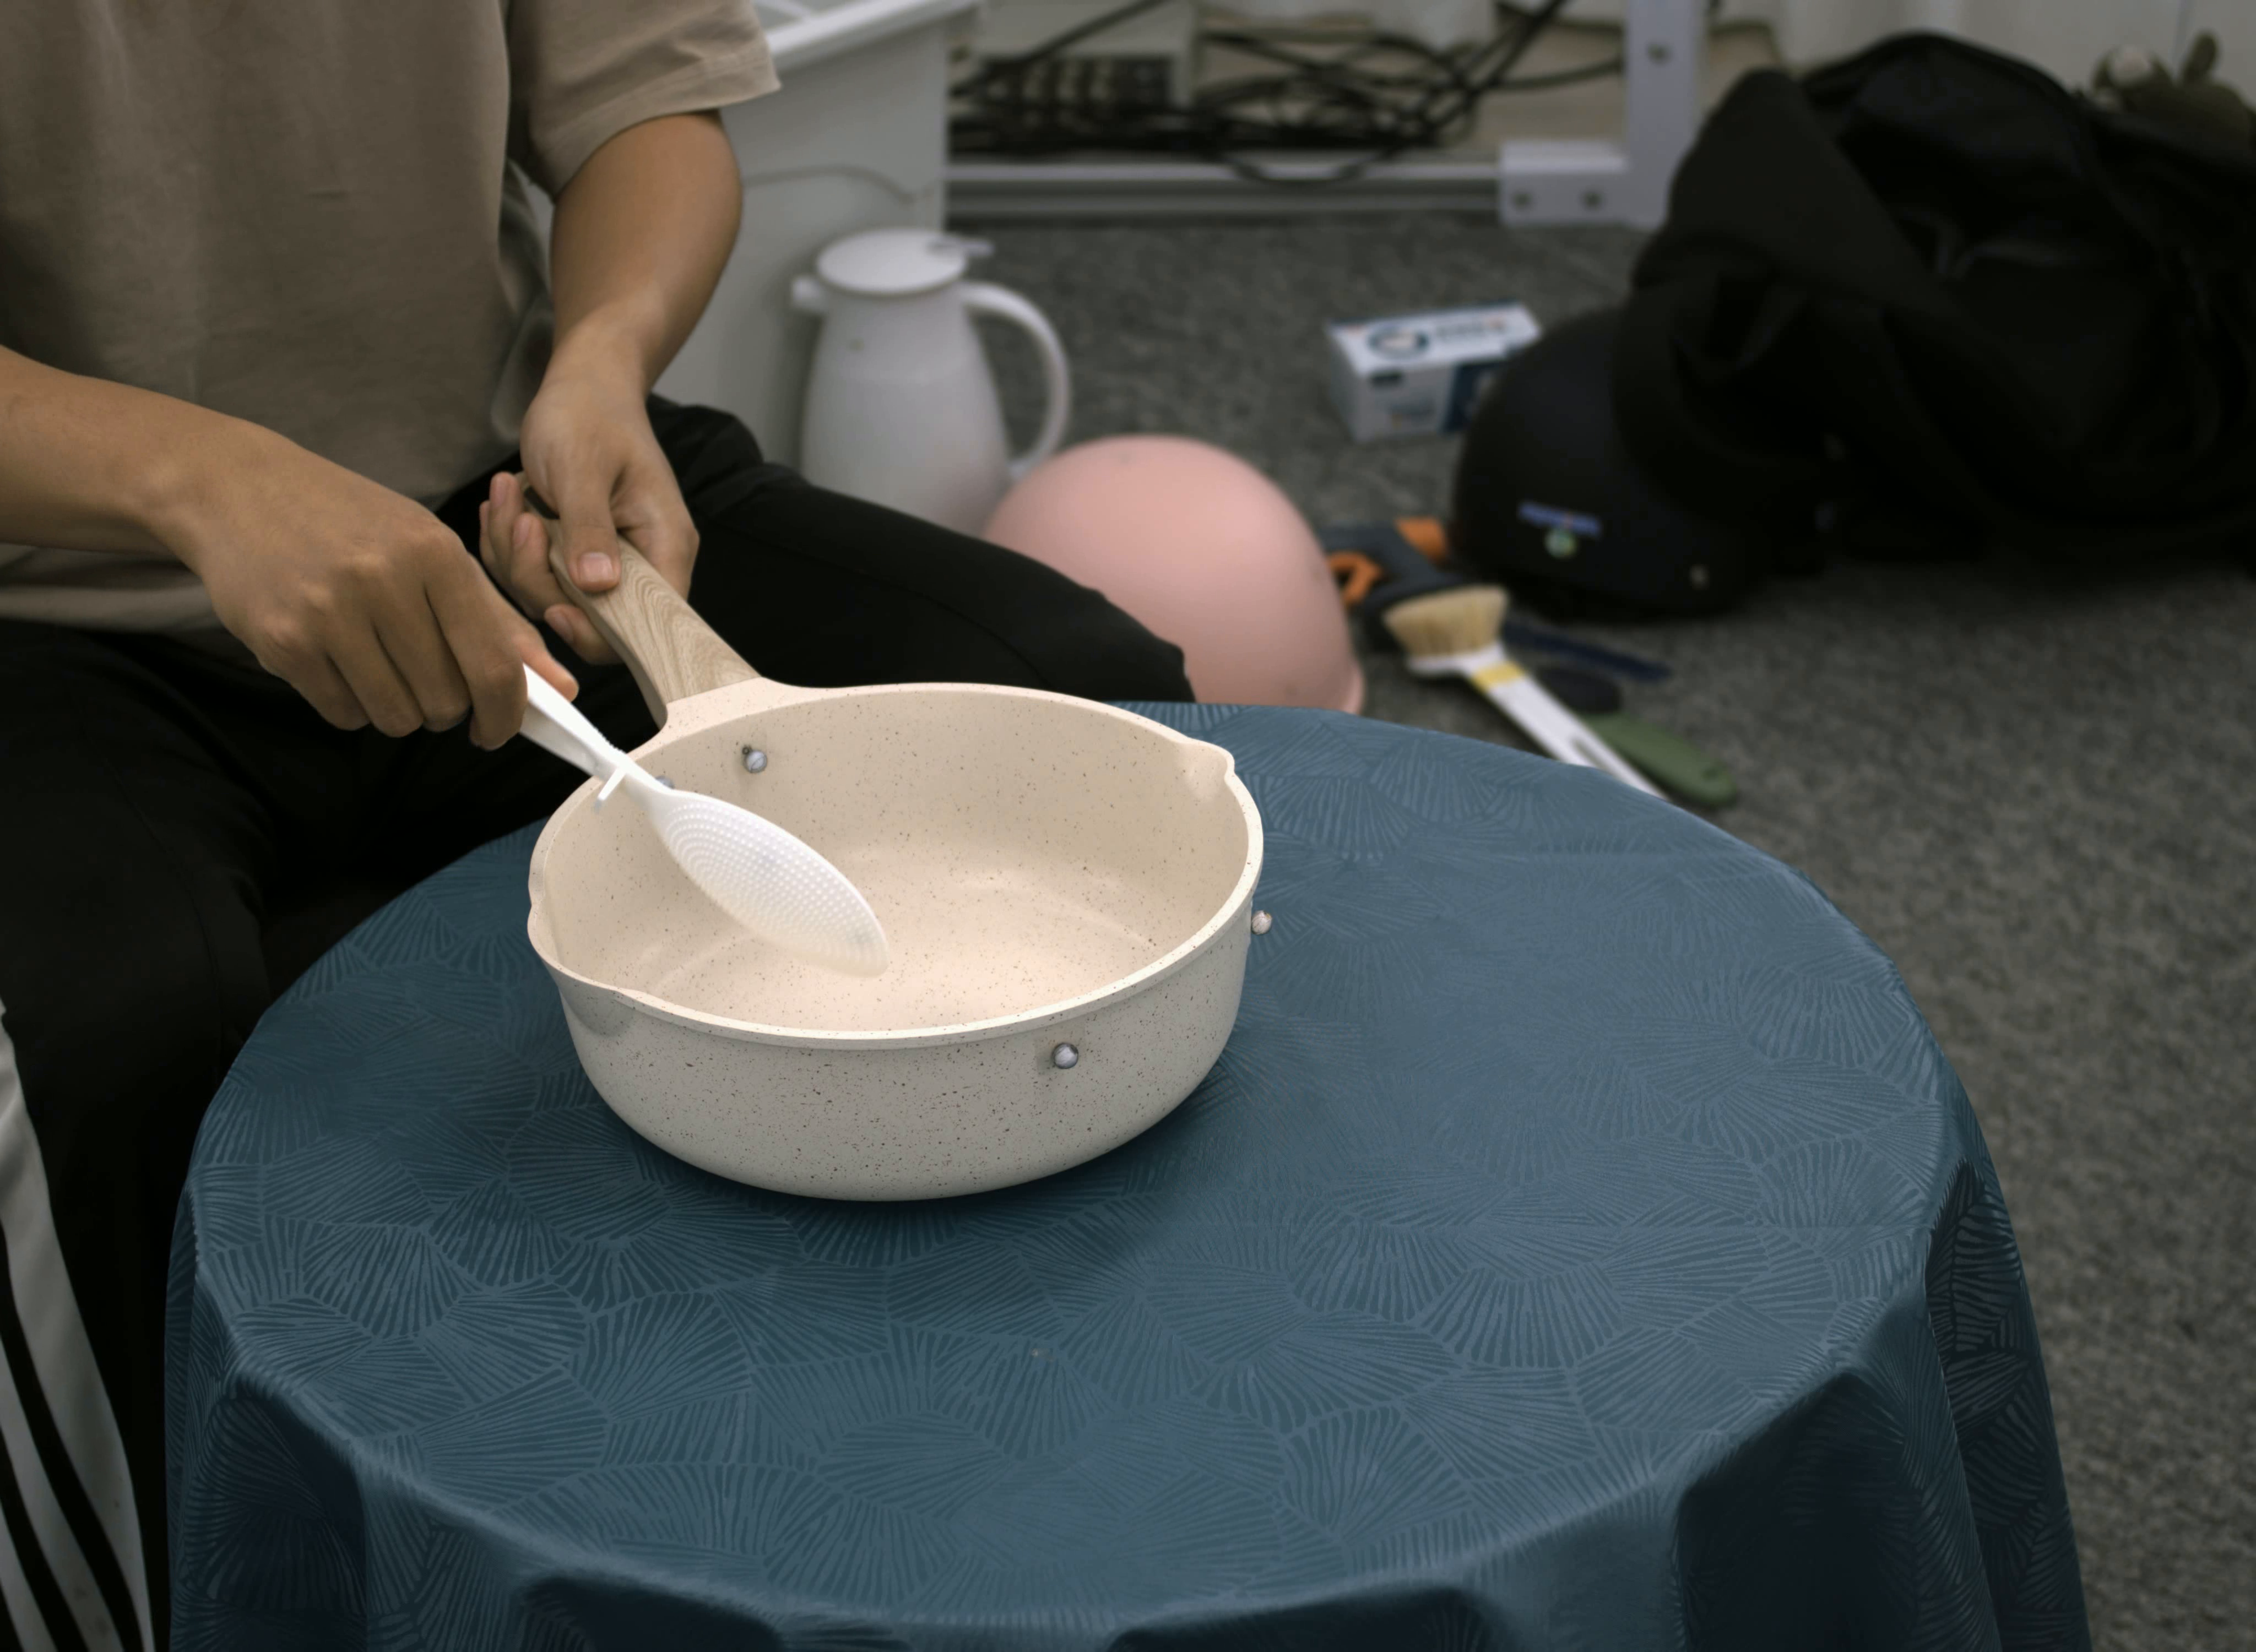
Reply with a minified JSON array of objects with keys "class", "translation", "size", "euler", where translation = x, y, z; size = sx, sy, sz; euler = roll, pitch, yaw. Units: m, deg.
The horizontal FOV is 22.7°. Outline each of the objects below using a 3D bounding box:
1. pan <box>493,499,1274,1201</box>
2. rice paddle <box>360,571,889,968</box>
[{"class":"pan","translation":[-0.118,0.002,2.001],"size":[0.265,0.101,0.437],"euler":[-19,31,-24]},{"class":"rice paddle","translation":[-0.162,-0.016,1.862],"size":[0.205,0.067,0.030],"euler":[34,61,4]}]
